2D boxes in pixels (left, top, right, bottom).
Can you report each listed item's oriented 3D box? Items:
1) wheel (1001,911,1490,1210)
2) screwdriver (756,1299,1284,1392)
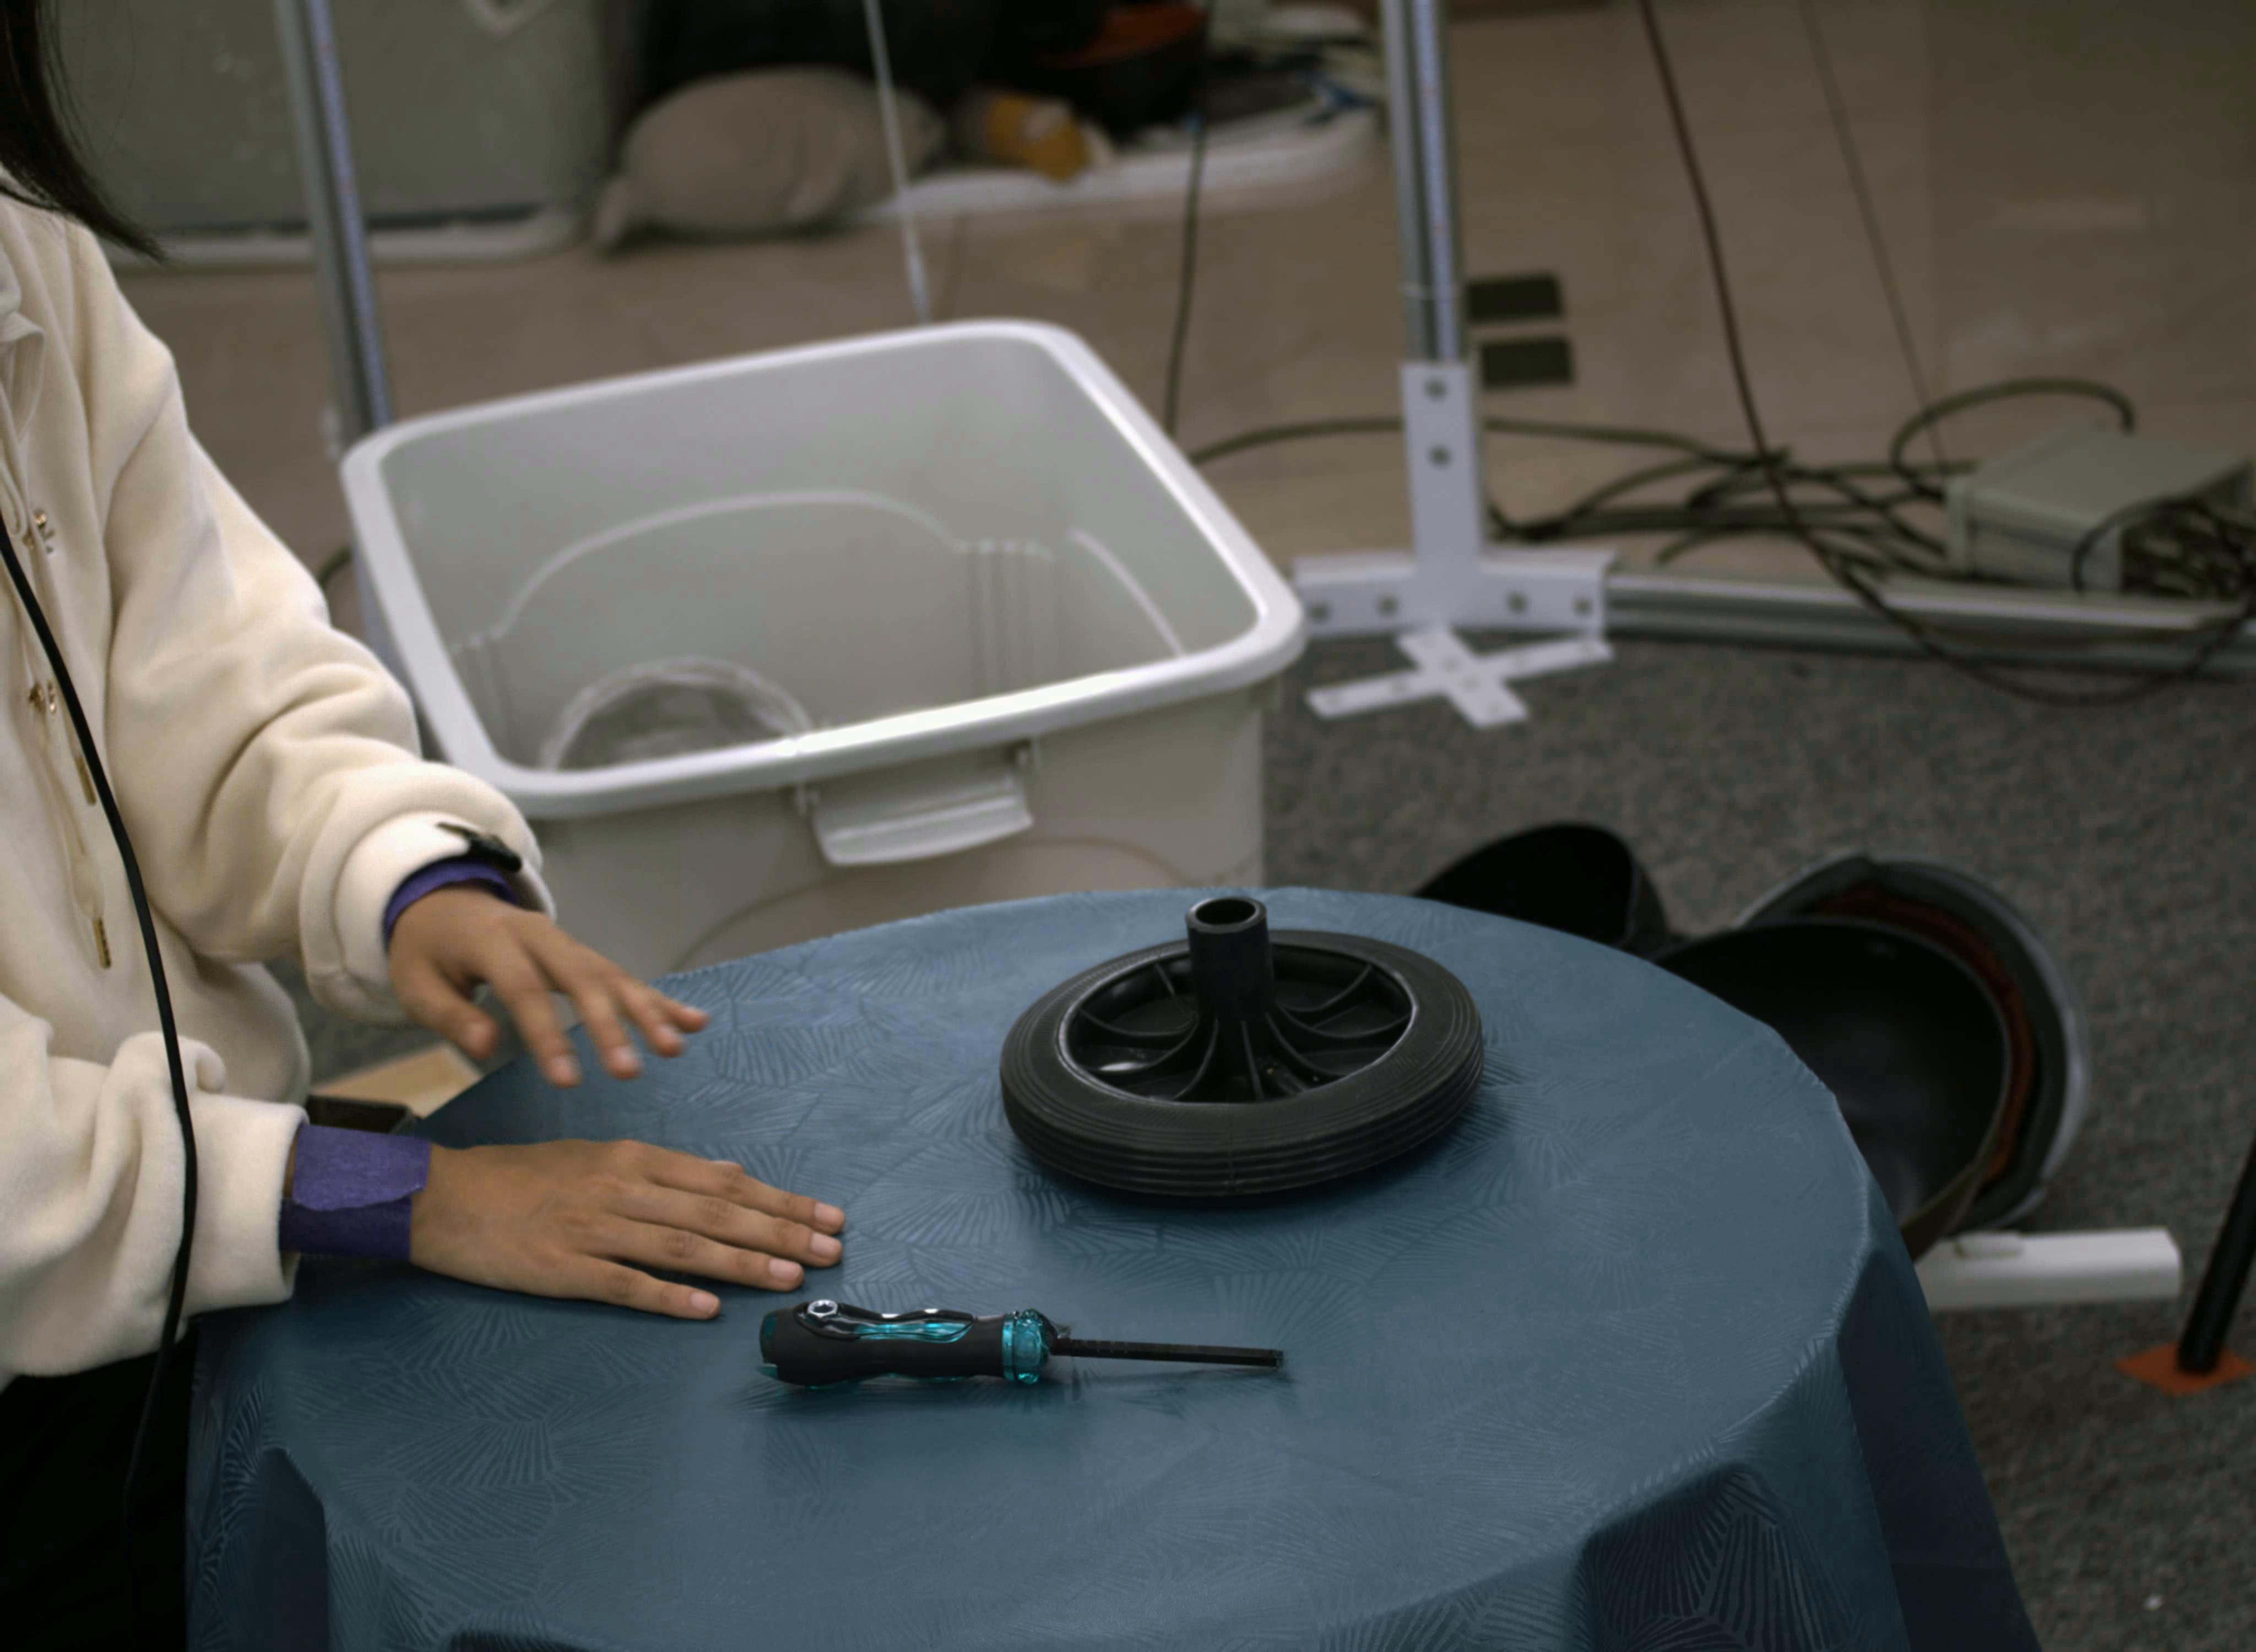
[{"bbox_3d":[0.044,0.075,2.186,0.188,0.080,0.185,17,34,36],"label":"wheel"},{"bbox_3d":[-0.039,0.189,2.027,0.189,0.034,0.033,3,26,7],"label":"screwdriver"}]
